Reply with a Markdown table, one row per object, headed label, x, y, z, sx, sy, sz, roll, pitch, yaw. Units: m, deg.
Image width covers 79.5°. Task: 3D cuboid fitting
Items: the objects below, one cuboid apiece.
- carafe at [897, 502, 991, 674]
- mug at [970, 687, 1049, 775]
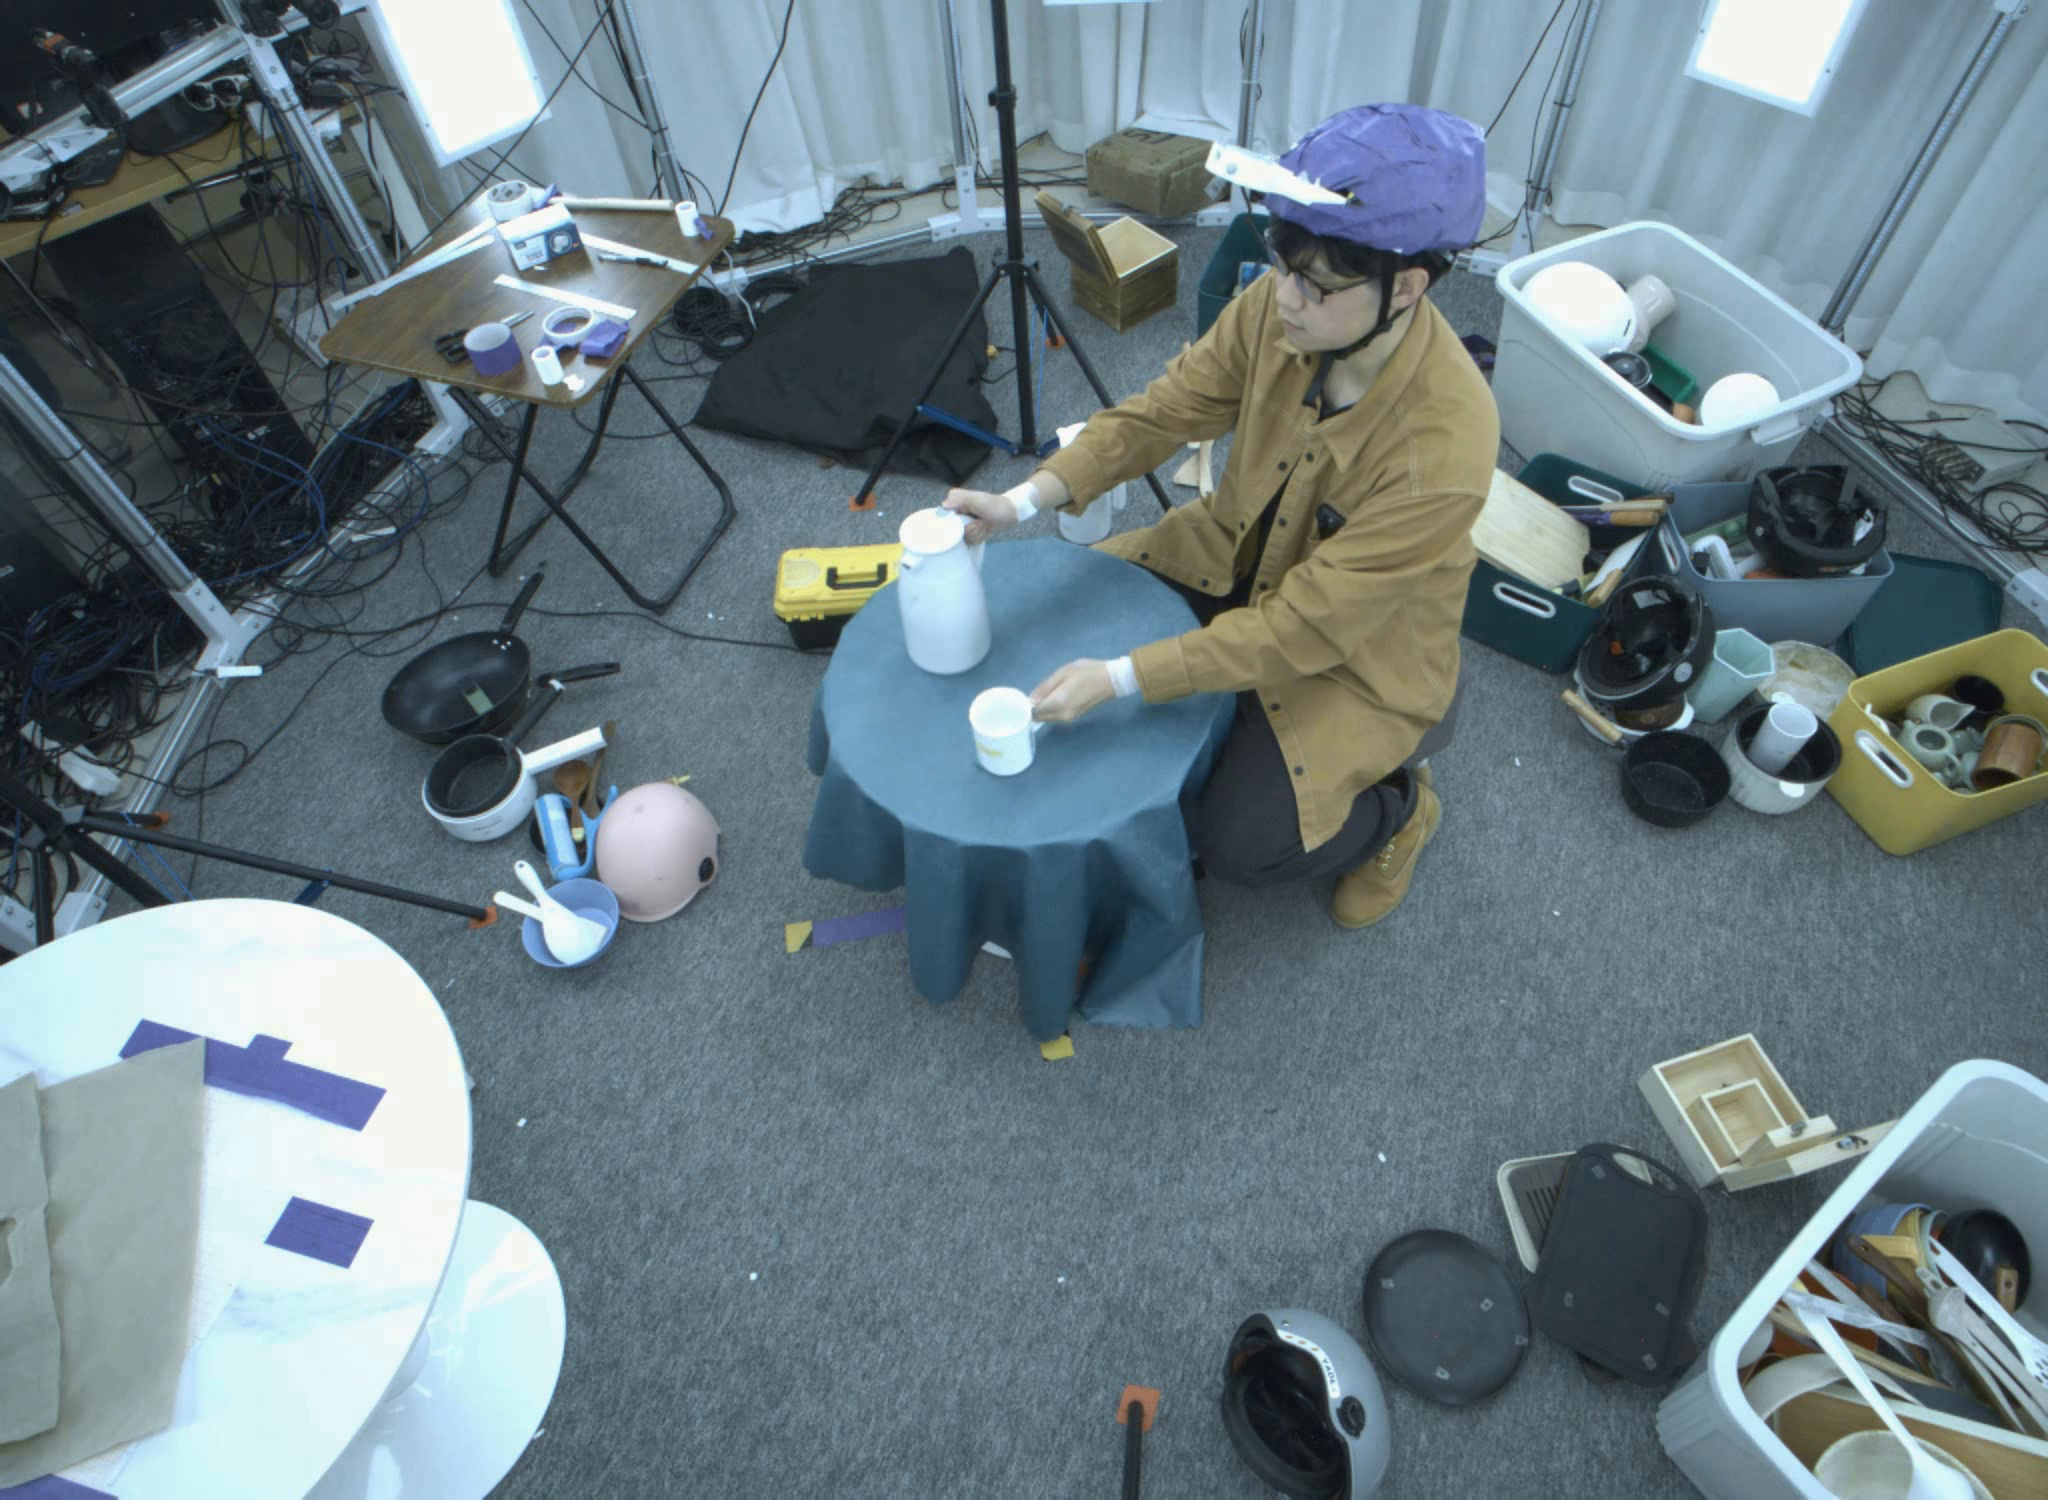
| label | x | y | z | sx | sy | sz | roll | pitch | yaw |
| --- | --- | --- | --- | --- | --- | --- | --- | --- | --- |
| carafe | -0.116 | -0.253 | 1.815 | 0.130 | 0.251 | 0.168 | 25 | 59 | 21 |
| mug | -0.015 | -0.033 | 1.741 | 0.119 | 0.103 | 0.083 | -34 | 60 | -18 |
